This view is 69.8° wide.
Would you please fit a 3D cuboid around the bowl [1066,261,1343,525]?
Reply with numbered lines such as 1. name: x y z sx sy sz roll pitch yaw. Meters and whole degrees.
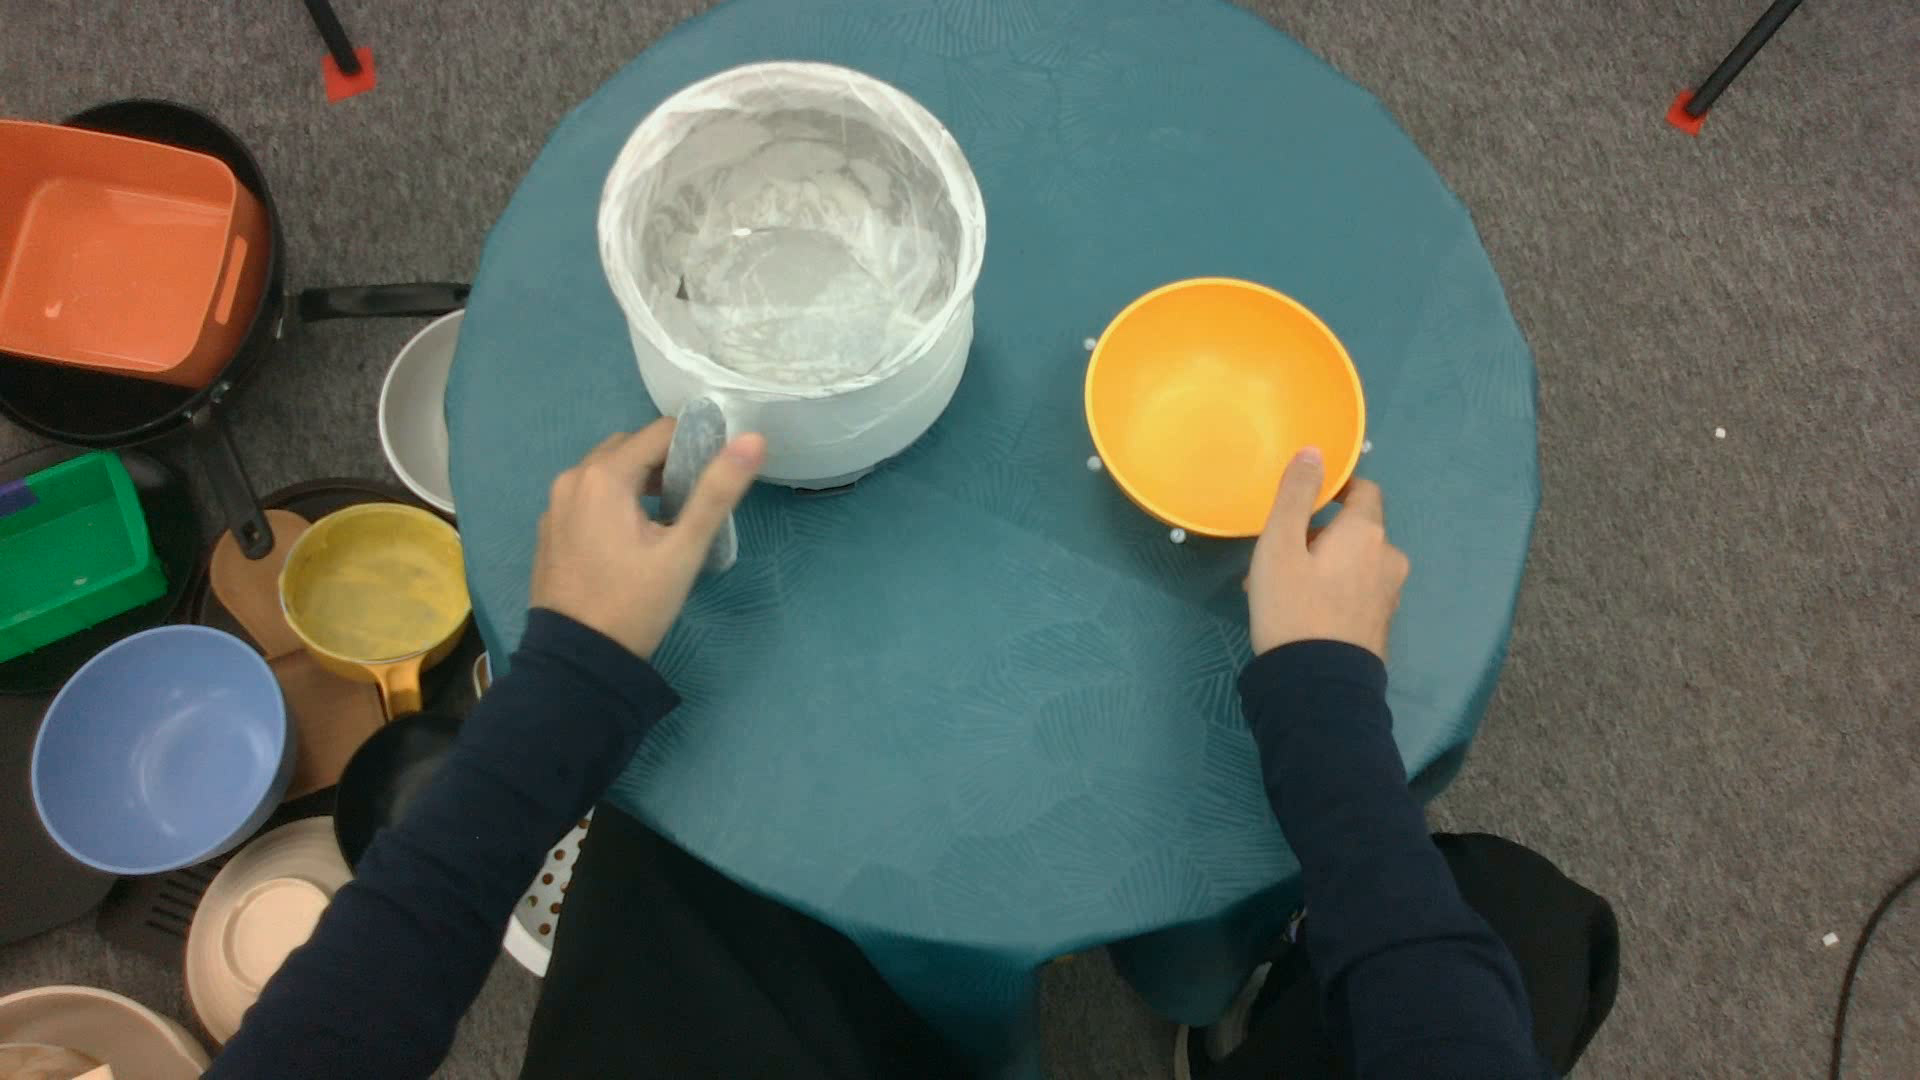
1. bowl: 0.123 -0.070 0.732 0.145 0.060 0.145 1 75 -5

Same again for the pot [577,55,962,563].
1. pot: -0.101 -0.106 0.688 0.179 0.136 0.234 20 72 2
